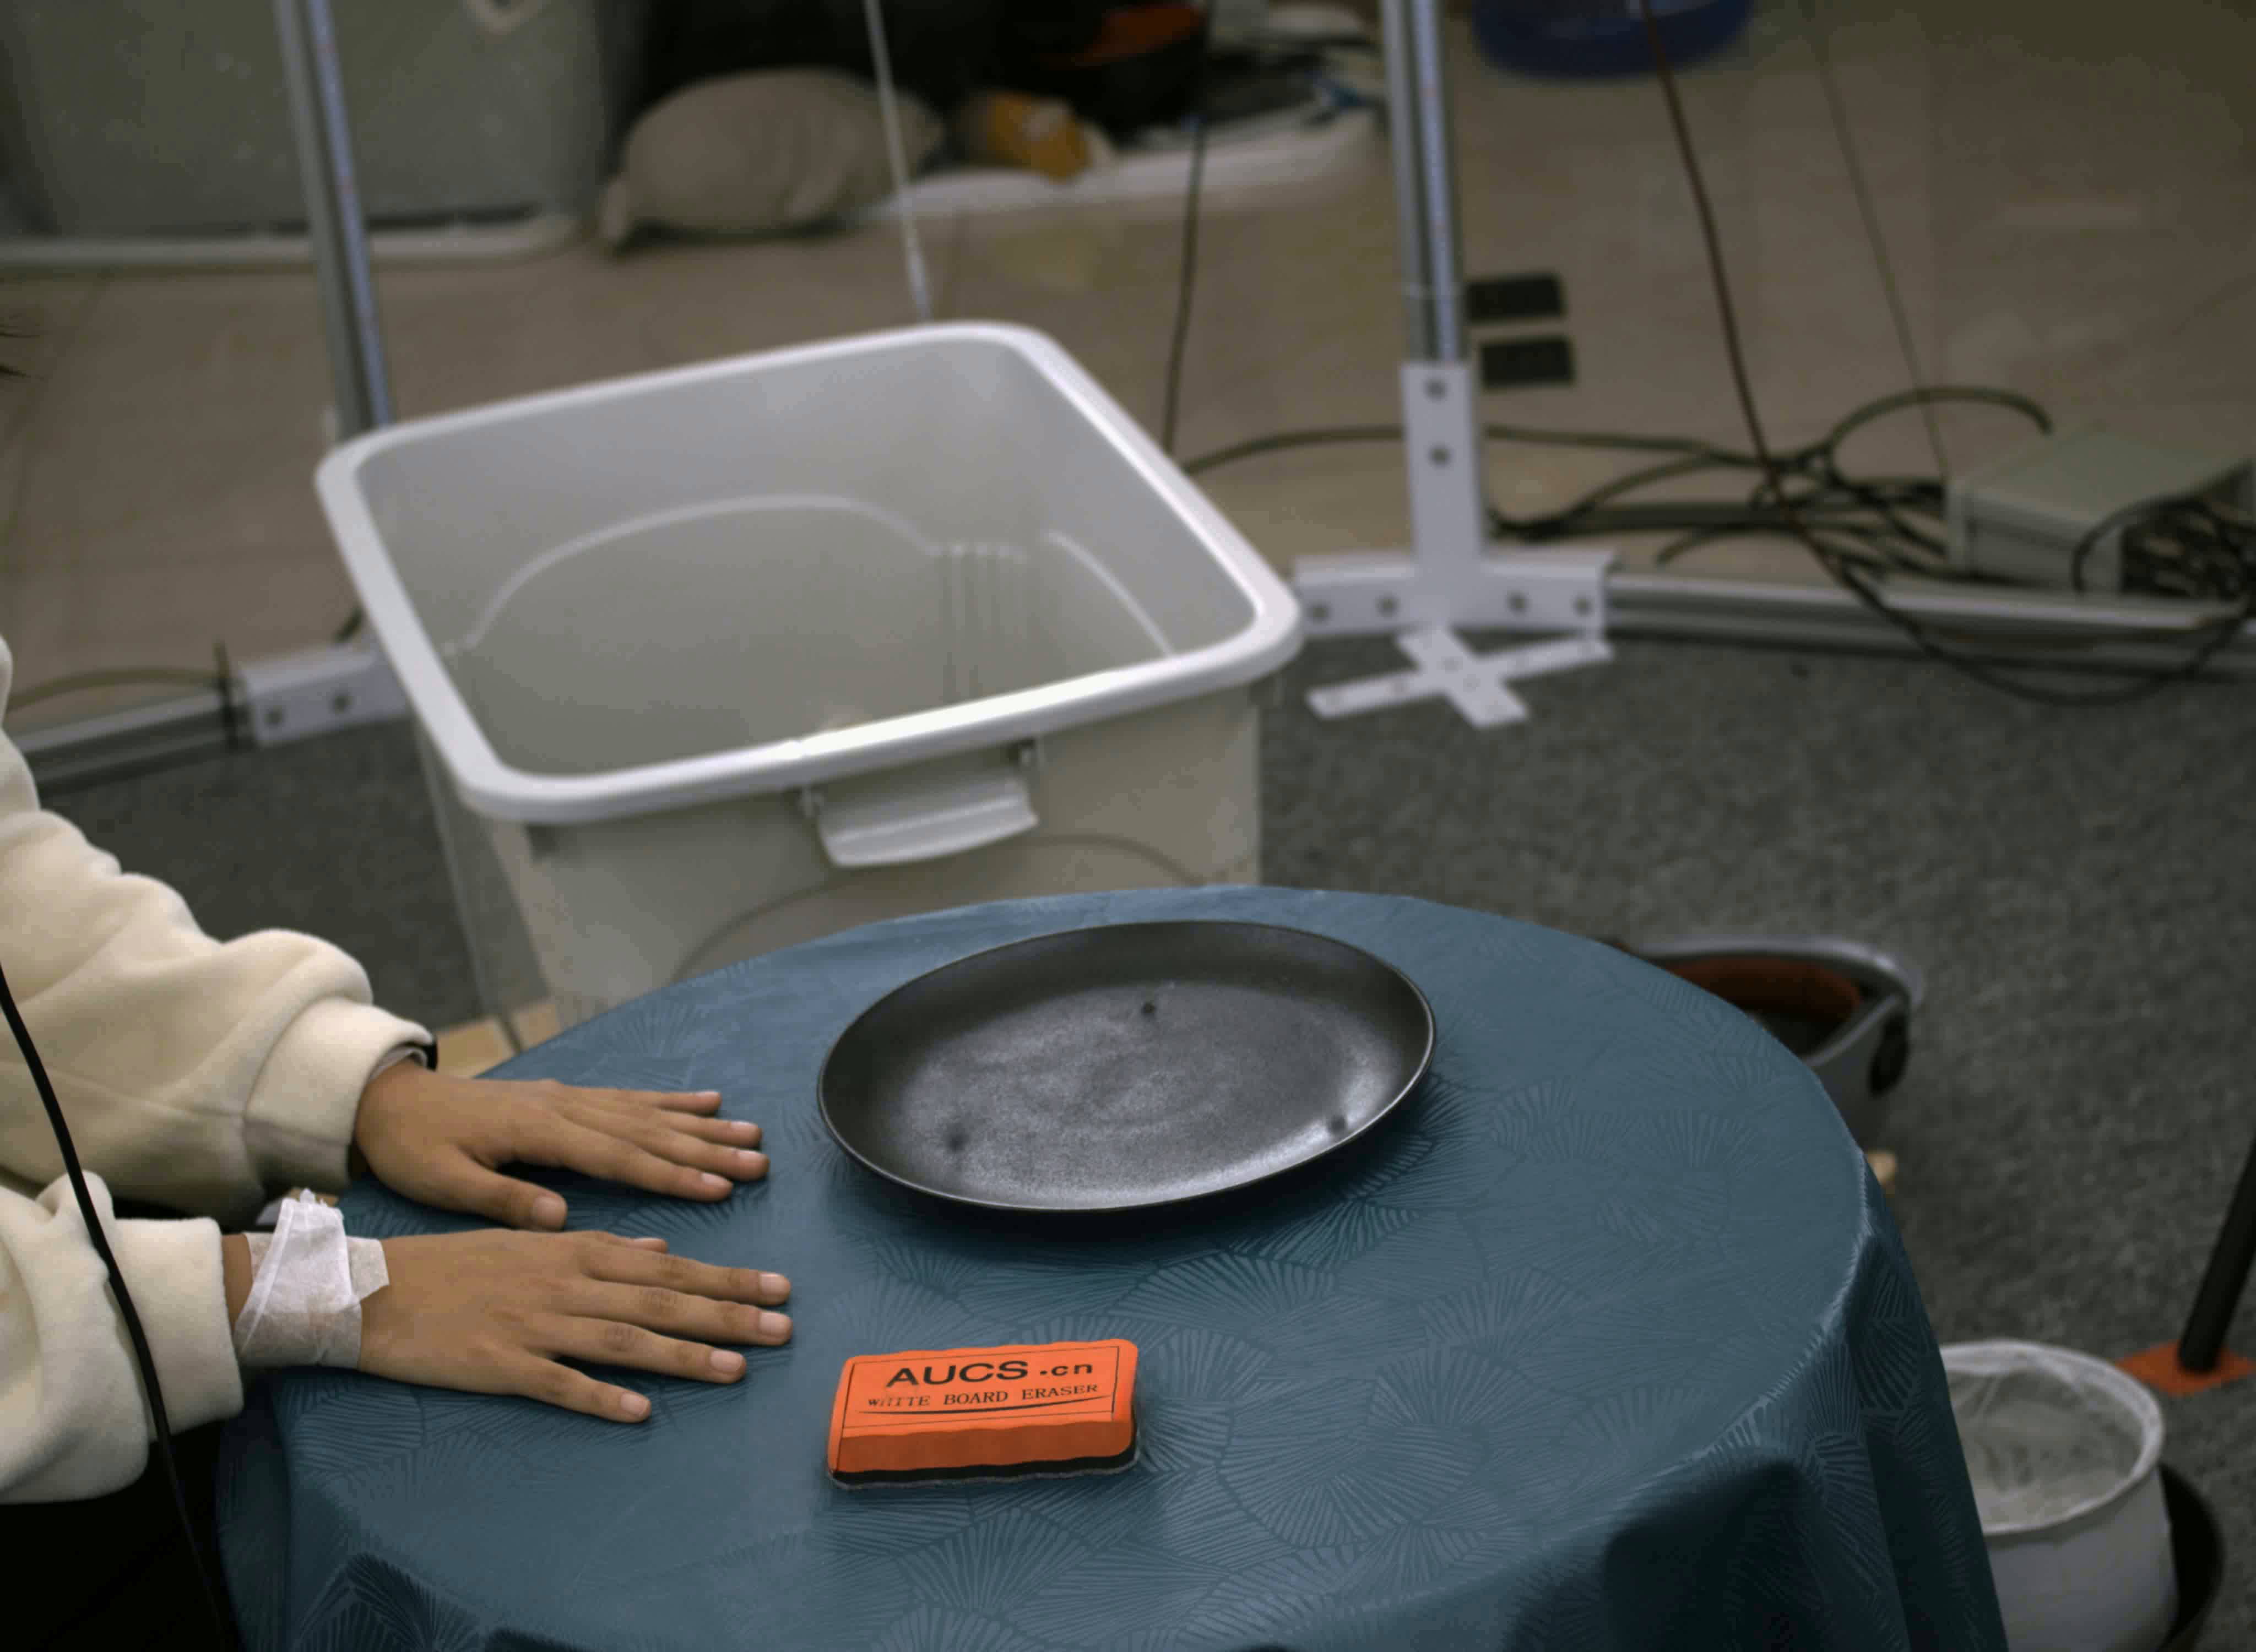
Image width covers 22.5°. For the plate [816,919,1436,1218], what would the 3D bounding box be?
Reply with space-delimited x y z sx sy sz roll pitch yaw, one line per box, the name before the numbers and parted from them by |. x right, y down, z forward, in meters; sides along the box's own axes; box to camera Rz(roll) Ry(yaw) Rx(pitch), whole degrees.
plate | 0.000 0.099 2.207 0.244 0.024 0.241 -5 25 3

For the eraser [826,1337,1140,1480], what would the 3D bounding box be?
eraser | -0.050 0.204 1.987 0.108 0.023 0.058 -2 26 4
